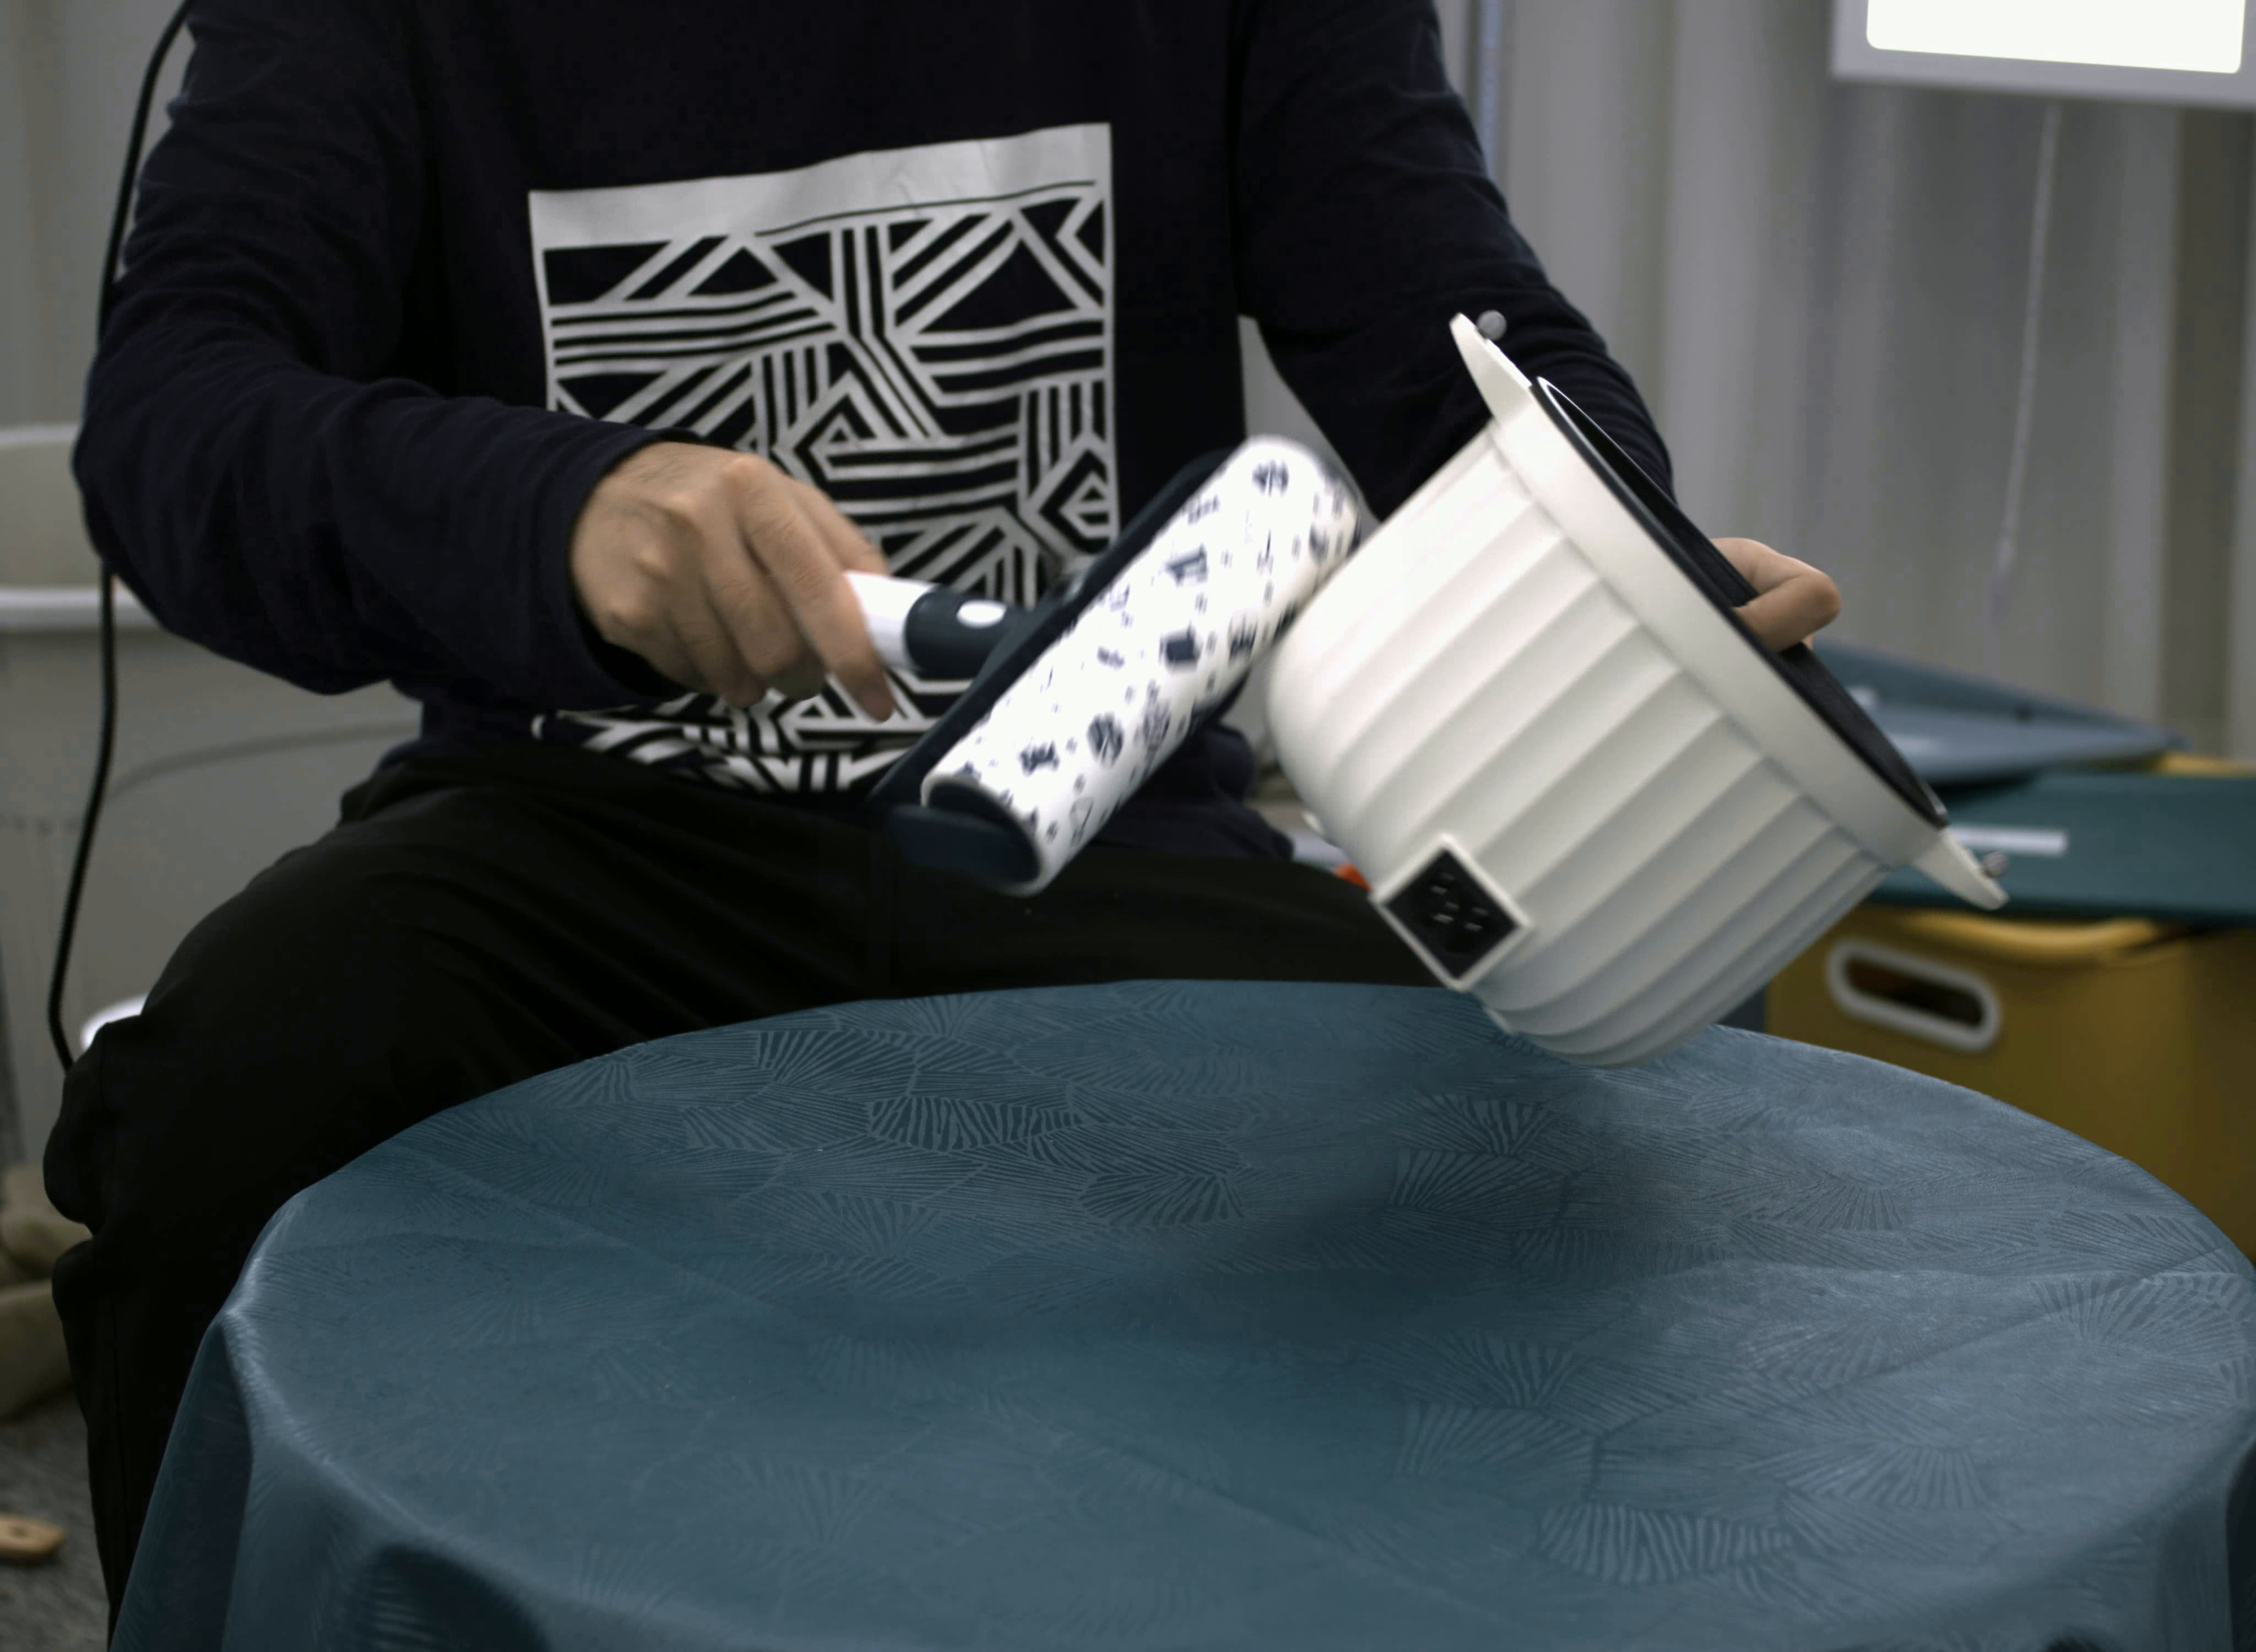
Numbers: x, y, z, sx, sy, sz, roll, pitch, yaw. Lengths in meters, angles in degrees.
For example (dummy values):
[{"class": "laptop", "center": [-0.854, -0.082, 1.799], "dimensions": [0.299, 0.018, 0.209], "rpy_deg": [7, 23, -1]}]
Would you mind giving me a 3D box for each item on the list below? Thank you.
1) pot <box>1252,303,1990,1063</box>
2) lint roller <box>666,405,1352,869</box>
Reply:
[{"class": "pot", "center": [0.130, -0.027, 1.576], "dimensions": [0.142, 0.241, 0.190], "rpy_deg": [-40, 6, 13]}, {"class": "lint roller", "center": [-0.066, -0.065, 1.629], "dimensions": [0.244, 0.051, 0.176], "rpy_deg": [7, 48, 44]}]
